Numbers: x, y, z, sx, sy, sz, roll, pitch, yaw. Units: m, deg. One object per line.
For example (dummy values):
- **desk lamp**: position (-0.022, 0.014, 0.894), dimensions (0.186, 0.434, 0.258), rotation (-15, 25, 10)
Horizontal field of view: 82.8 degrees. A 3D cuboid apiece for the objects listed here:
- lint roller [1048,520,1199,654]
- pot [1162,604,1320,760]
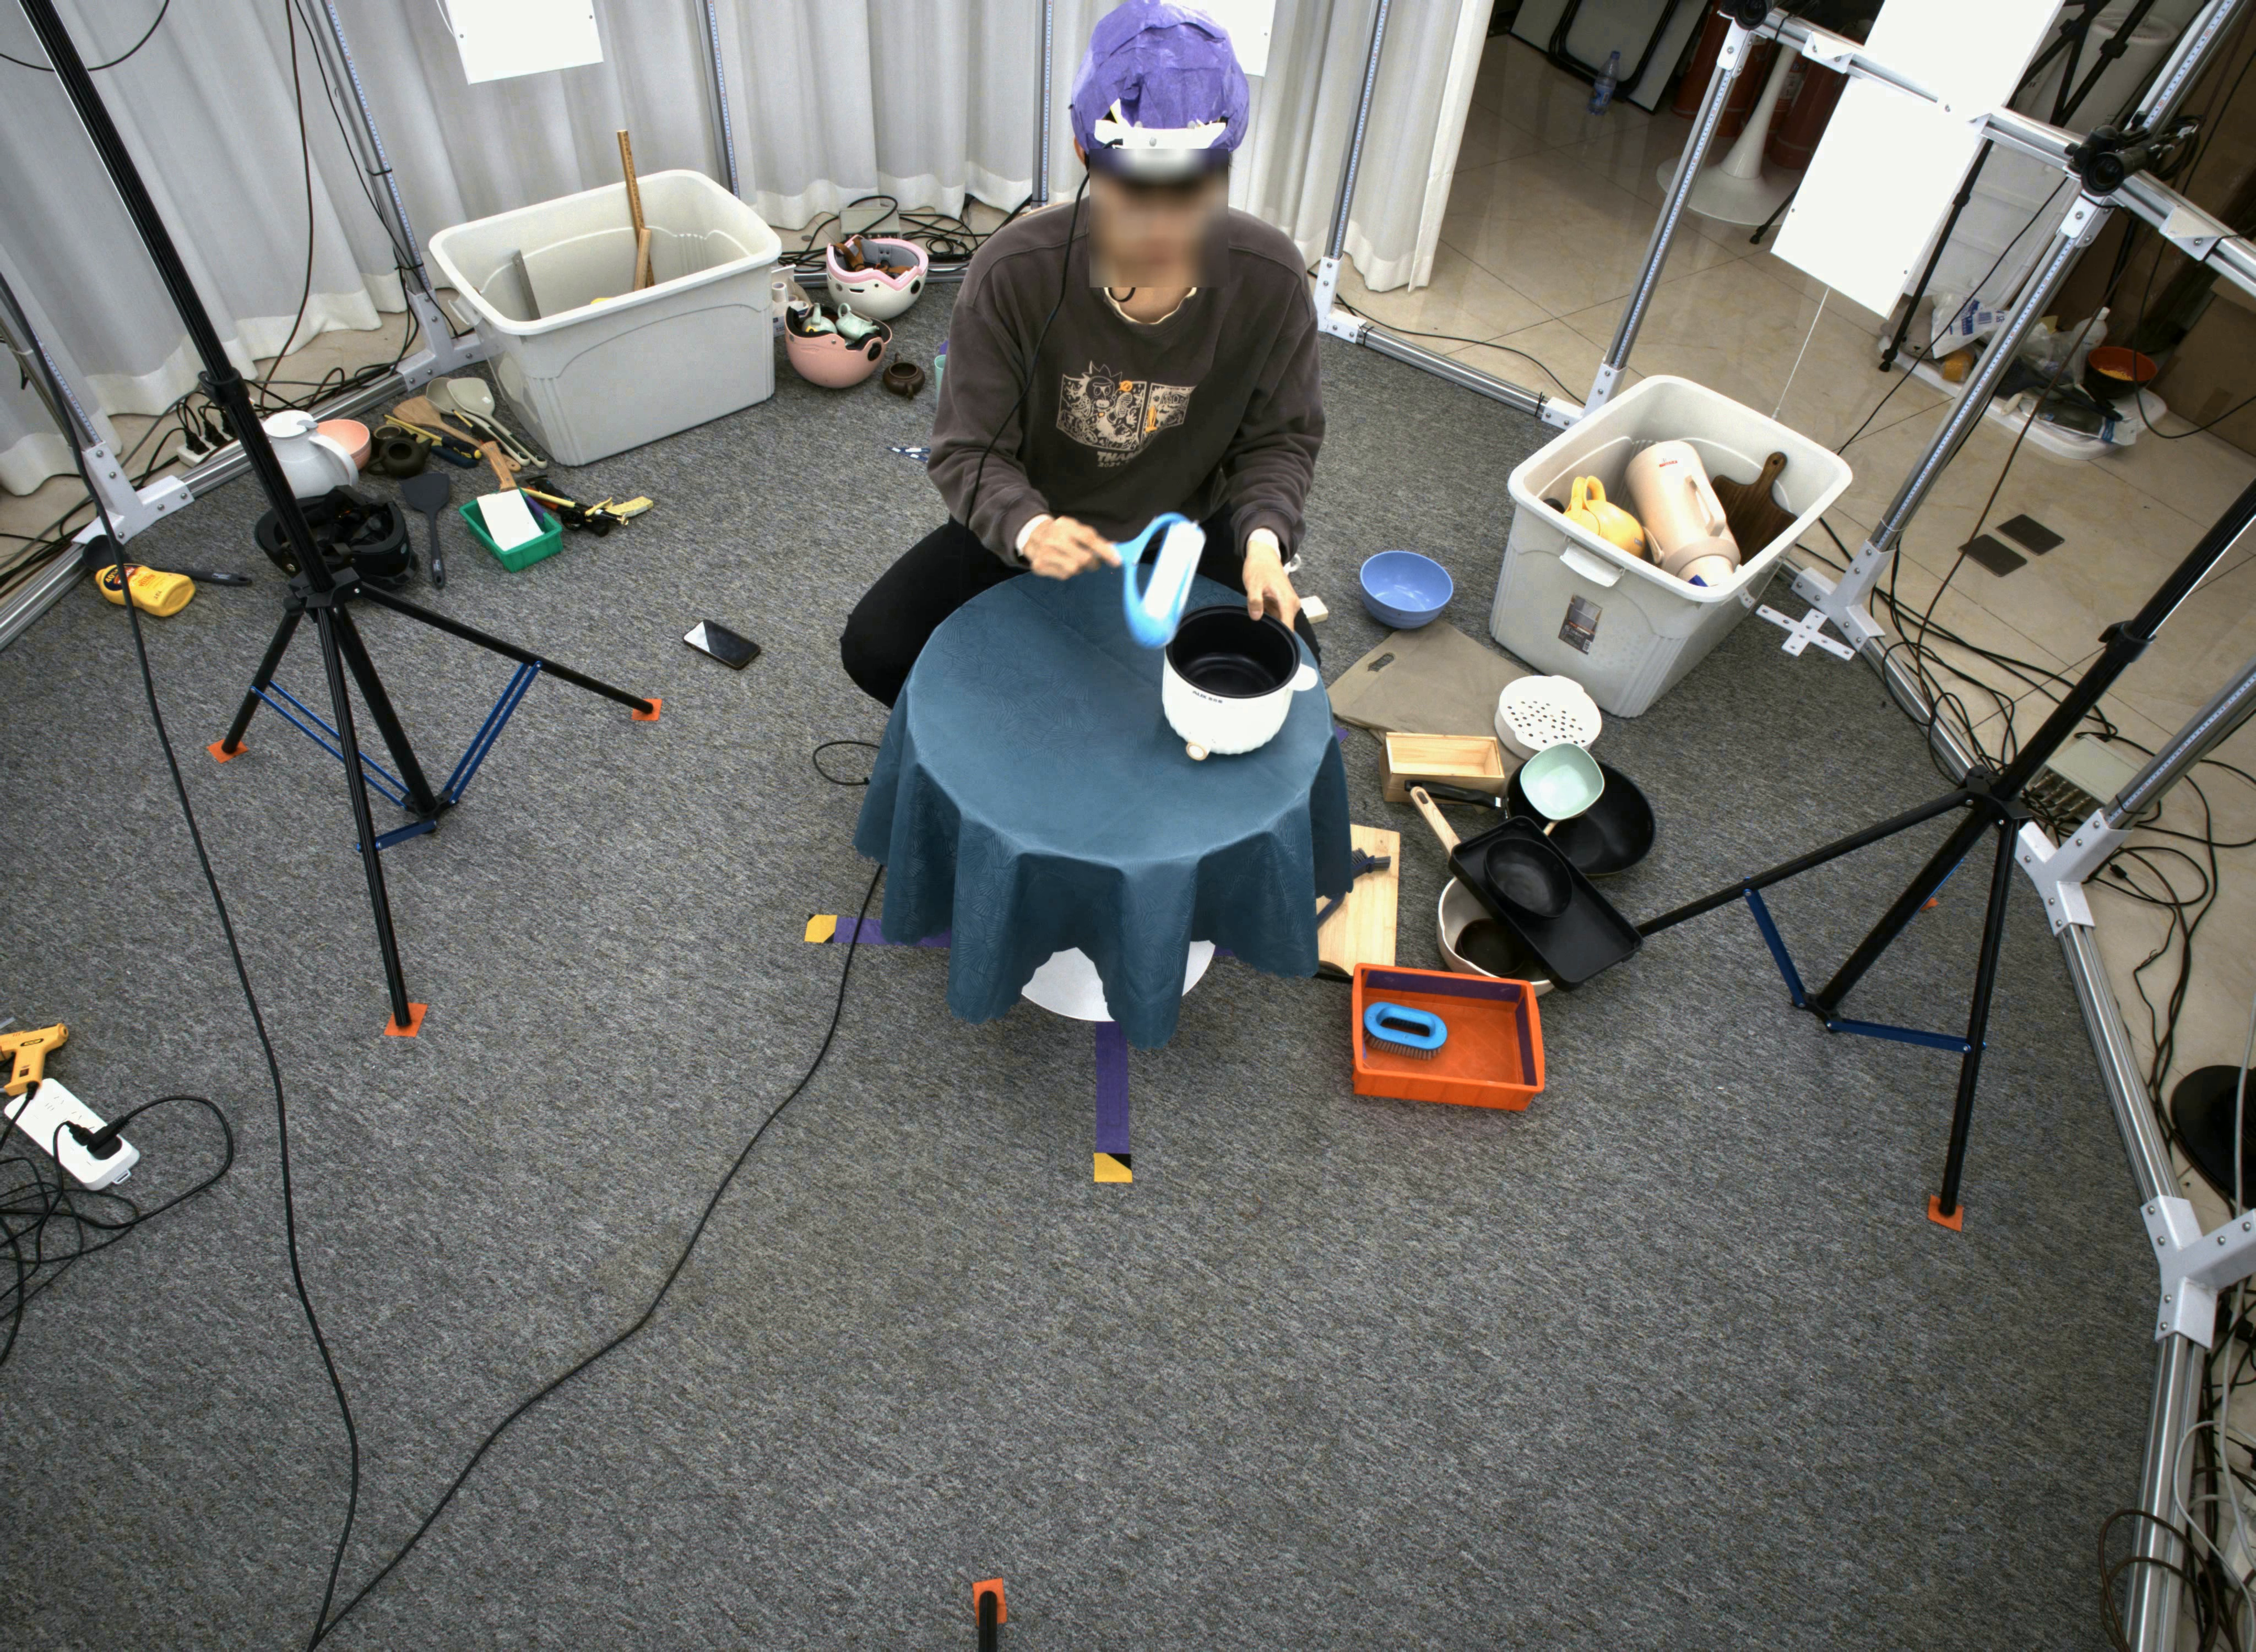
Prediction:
- **lint roller**: position (-0.012, -0.320, 1.639), dimensions (0.180, 0.066, 0.234), rotation (17, 51, 0)
- **pot**: position (0.136, -0.190, 1.749), dimensions (0.242, 0.139, 0.194), rotation (20, 48, 15)
